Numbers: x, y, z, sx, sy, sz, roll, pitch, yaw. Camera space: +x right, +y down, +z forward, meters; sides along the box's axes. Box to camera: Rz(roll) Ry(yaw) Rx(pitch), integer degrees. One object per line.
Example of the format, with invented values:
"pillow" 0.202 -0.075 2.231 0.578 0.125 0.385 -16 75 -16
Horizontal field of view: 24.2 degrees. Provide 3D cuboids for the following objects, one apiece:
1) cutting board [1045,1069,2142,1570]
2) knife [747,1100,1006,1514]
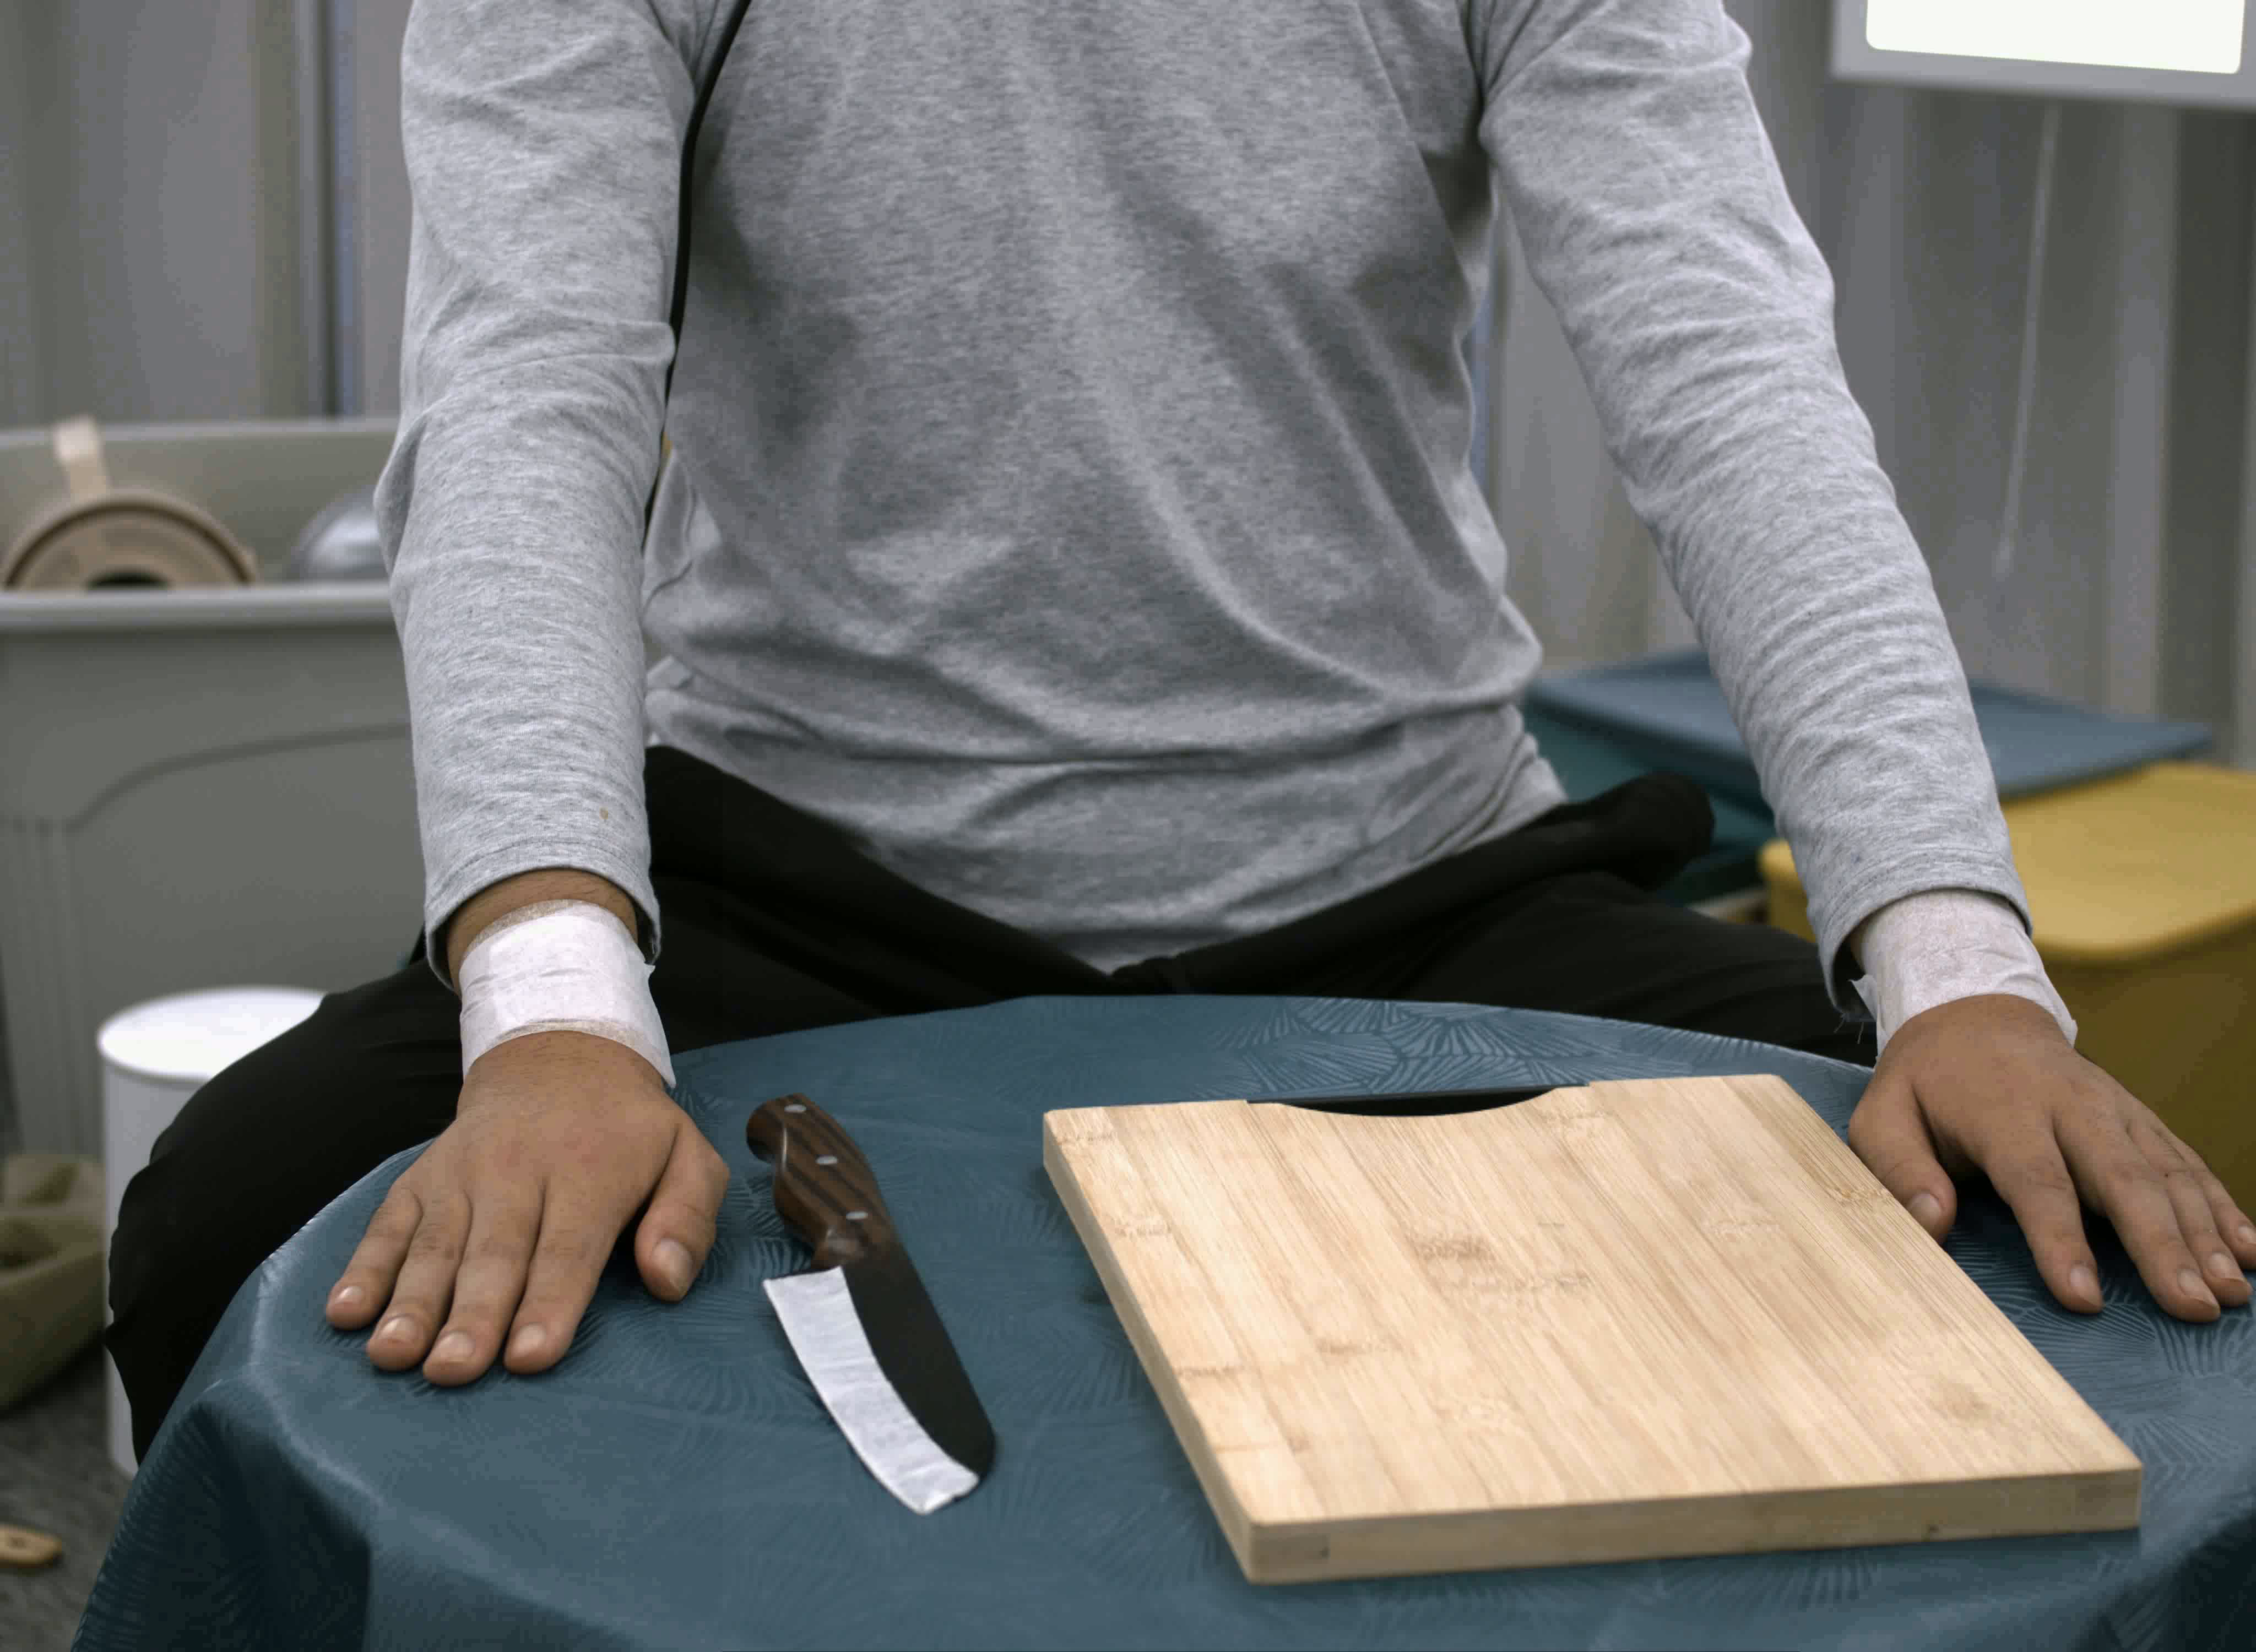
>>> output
"cutting board" 0.119 0.135 1.516 0.251 0.024 0.345 -2 15 -10
"knife" -0.077 0.136 1.508 0.050 0.020 0.286 -7 19 -10
